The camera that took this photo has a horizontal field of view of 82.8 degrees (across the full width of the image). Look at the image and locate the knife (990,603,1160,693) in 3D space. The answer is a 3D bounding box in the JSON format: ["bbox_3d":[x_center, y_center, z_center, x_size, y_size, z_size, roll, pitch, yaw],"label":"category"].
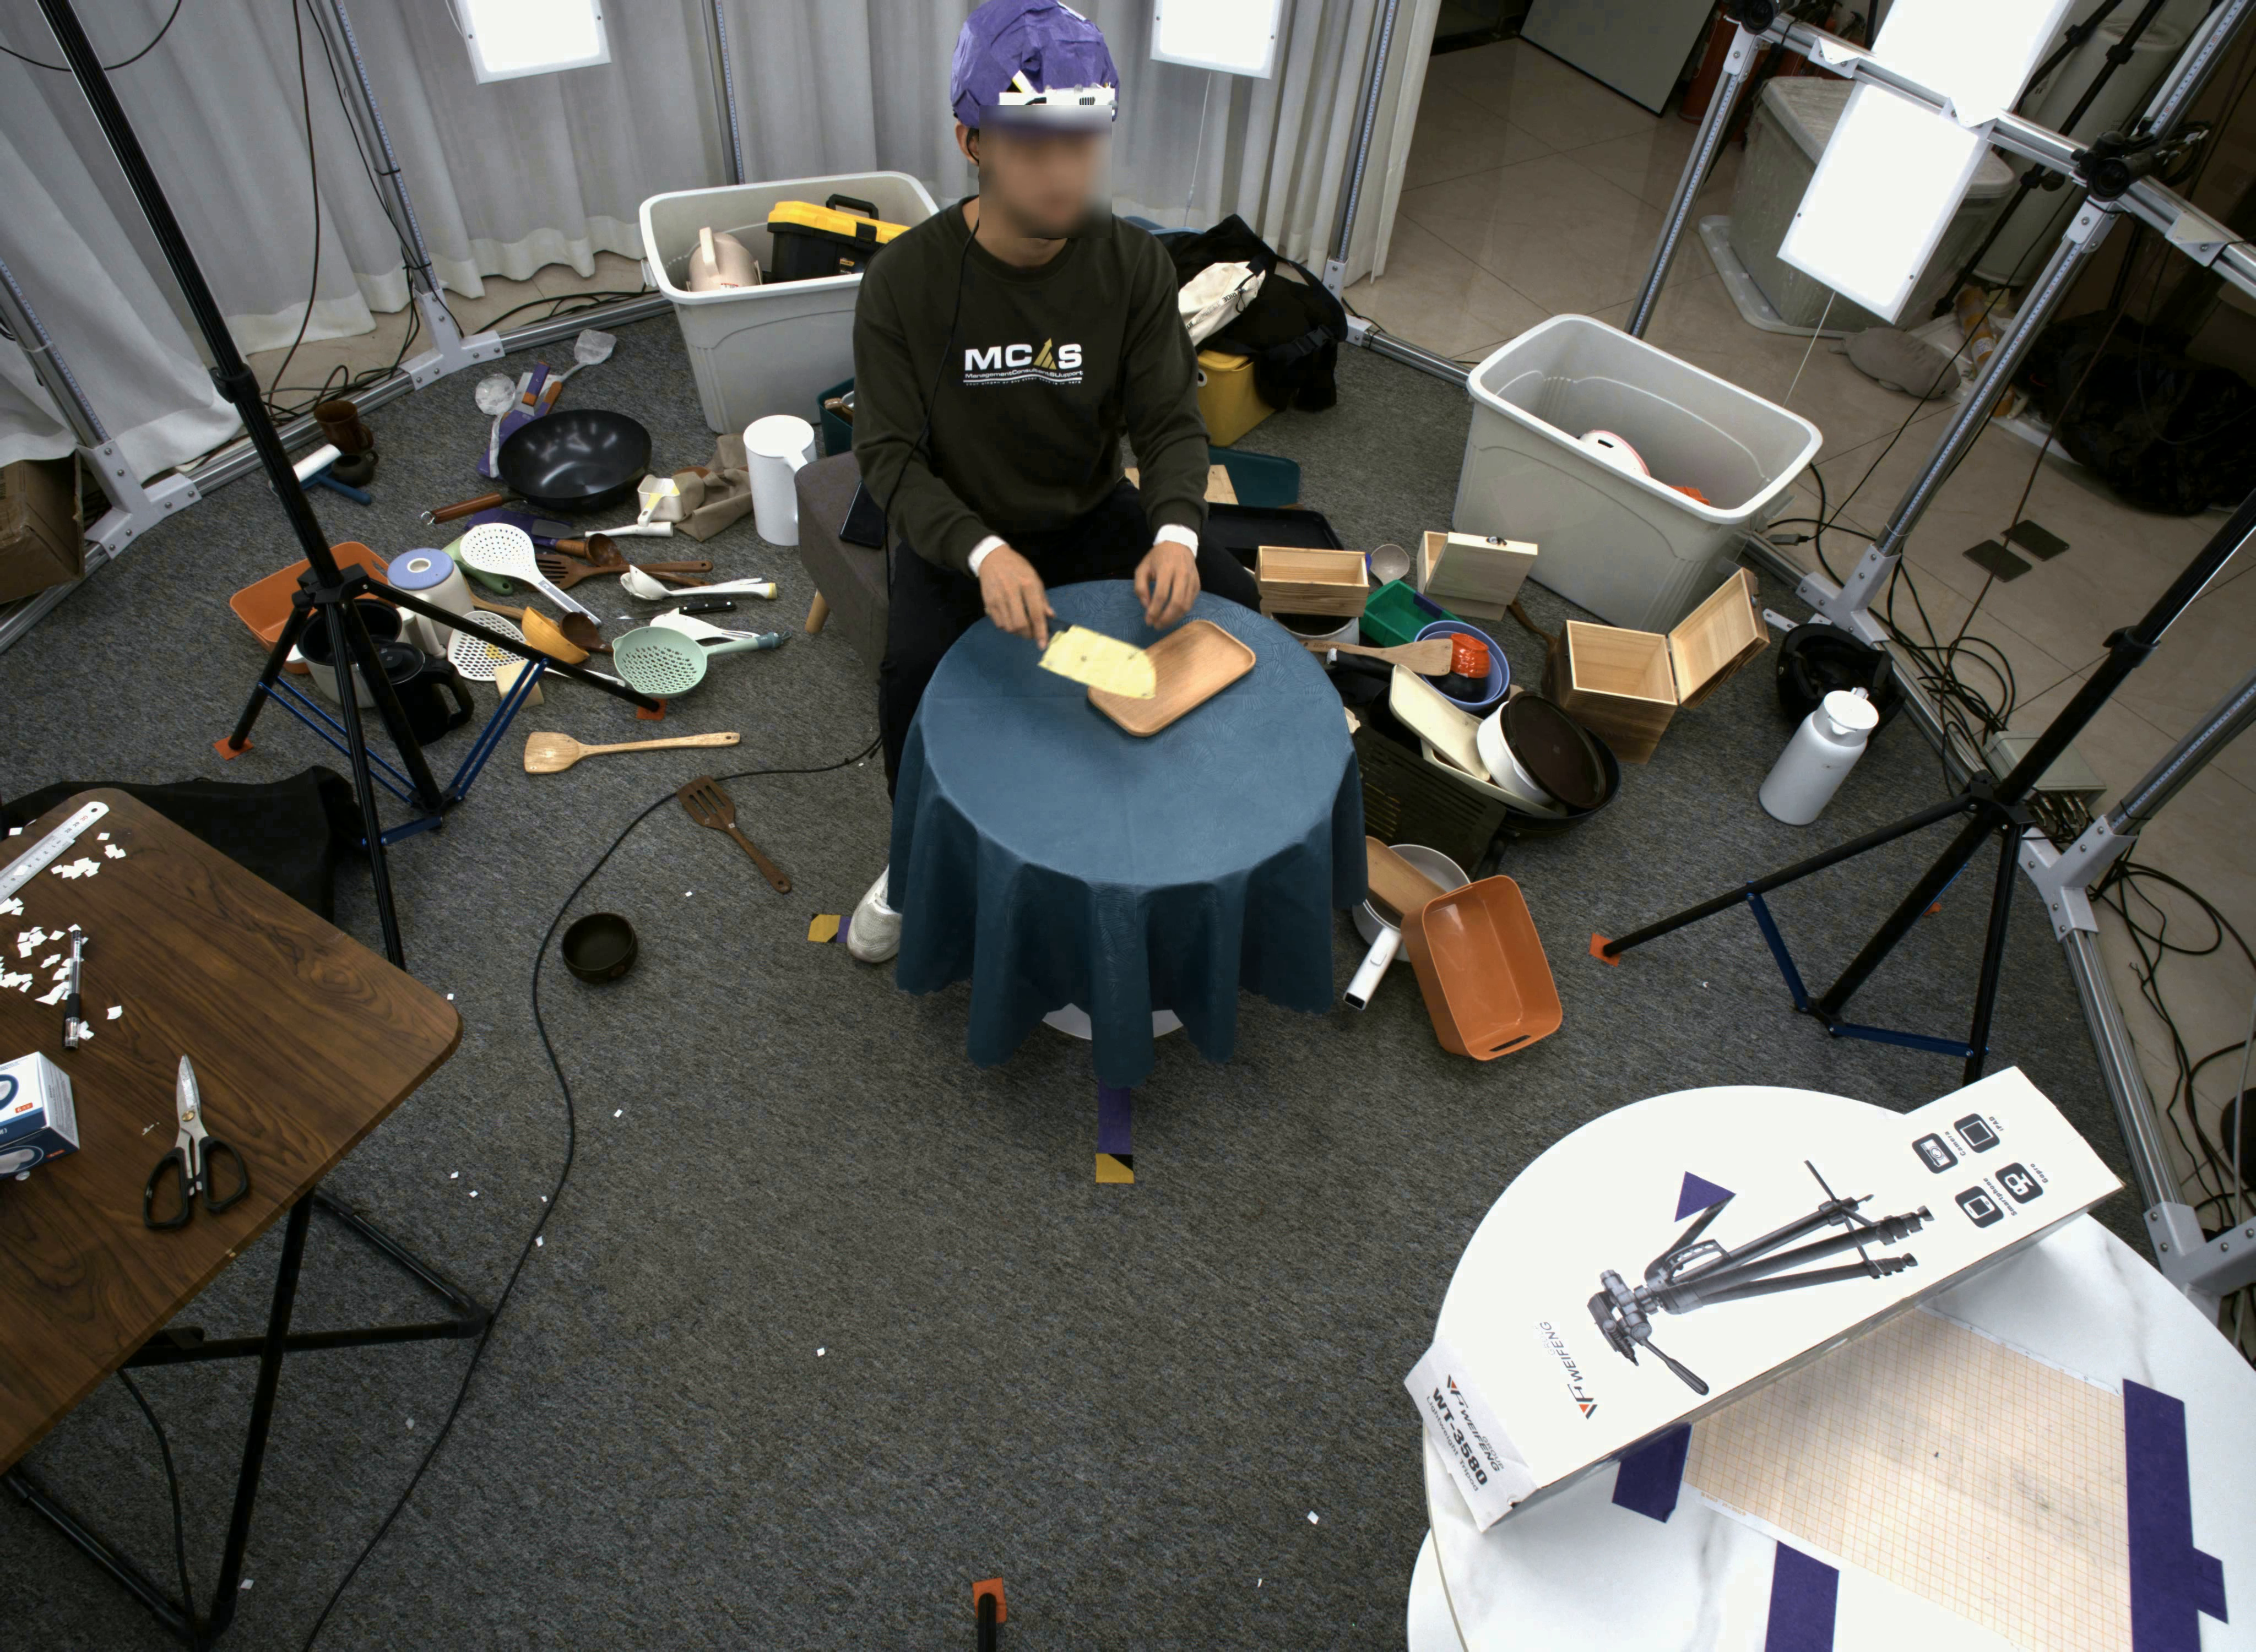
[{"bbox_3d":[-0.078,-0.247,1.765,0.292,0.027,0.081,25,78,25],"label":"knife"}]

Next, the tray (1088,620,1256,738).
[{"bbox_3d":[0.065,-0.214,1.846,0.253,0.022,0.132,-35,57,-29],"label":"tray"}]
